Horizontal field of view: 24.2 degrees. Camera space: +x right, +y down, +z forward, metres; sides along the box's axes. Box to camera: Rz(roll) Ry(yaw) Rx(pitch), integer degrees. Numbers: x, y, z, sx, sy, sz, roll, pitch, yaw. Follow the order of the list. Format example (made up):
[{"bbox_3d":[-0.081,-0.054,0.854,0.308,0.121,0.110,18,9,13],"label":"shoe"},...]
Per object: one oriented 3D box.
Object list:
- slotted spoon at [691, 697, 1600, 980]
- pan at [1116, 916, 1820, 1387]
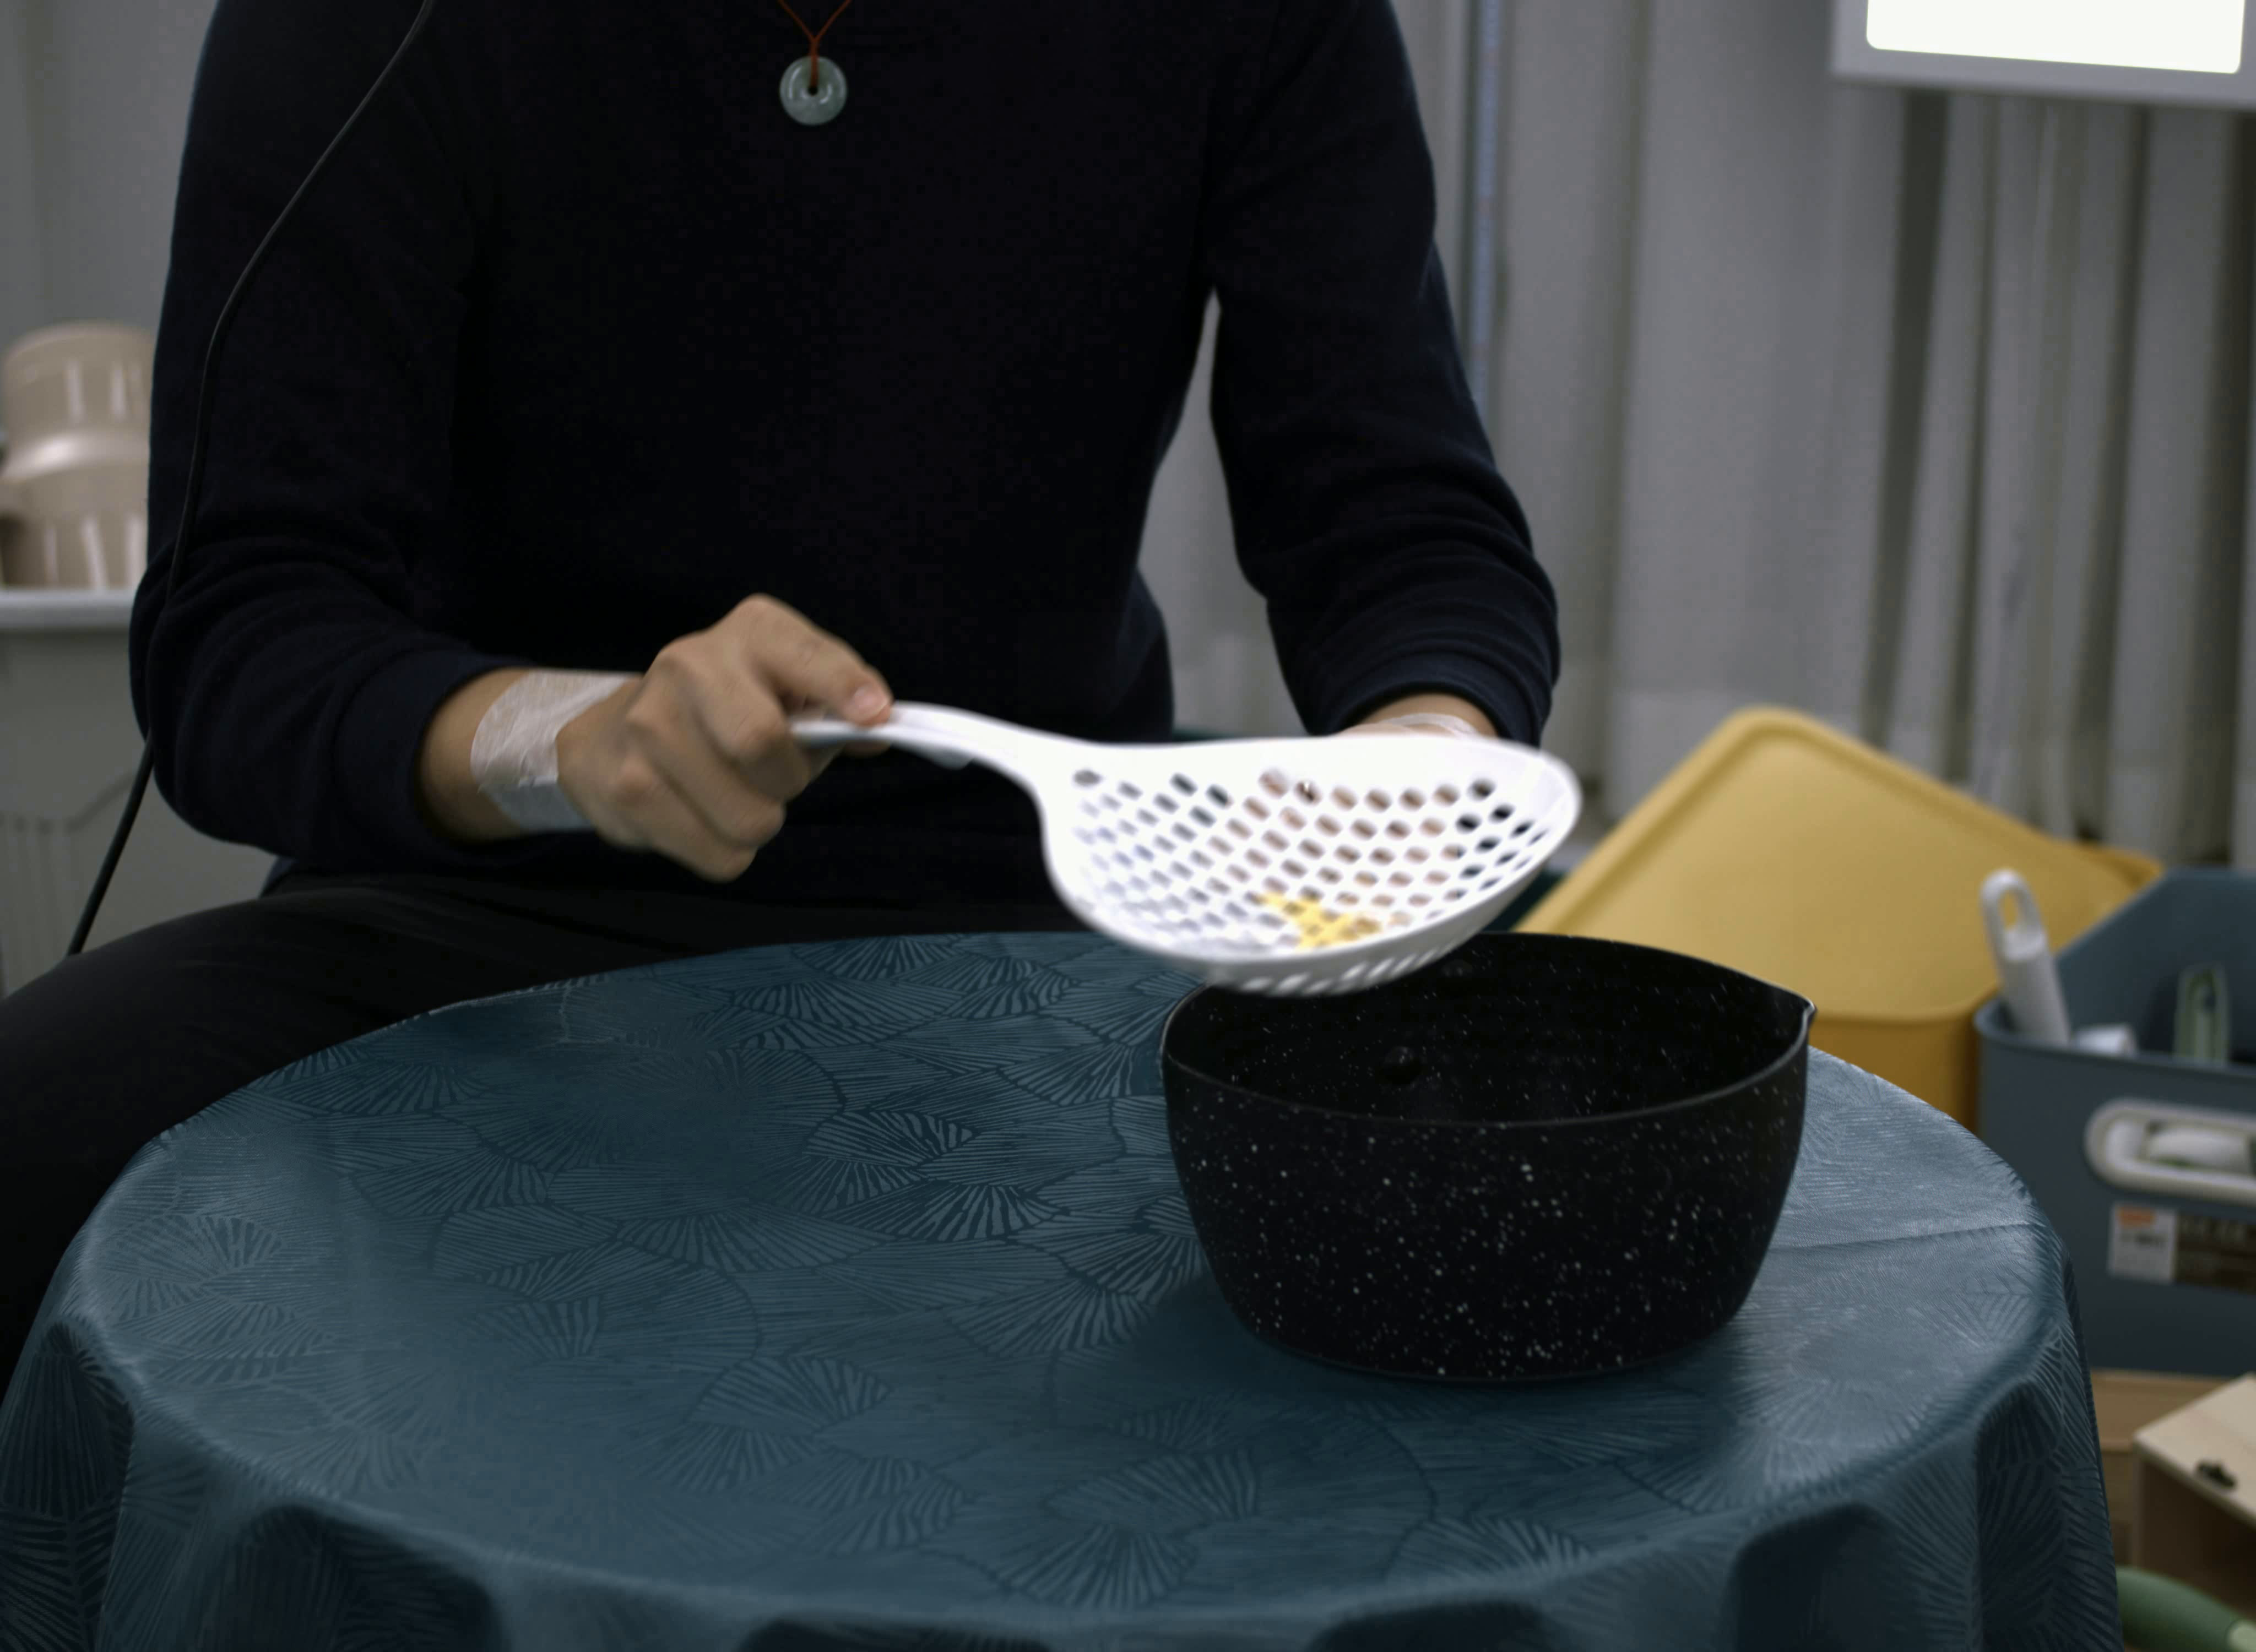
[{"bbox_3d":[-0.012,-0.011,1.517,0.137,0.051,0.343,-32,35,-34],"label":"slotted spoon"},{"bbox_3d":[0.082,0.064,1.591,0.207,0.109,0.339,-6,18,-13],"label":"pan"}]
